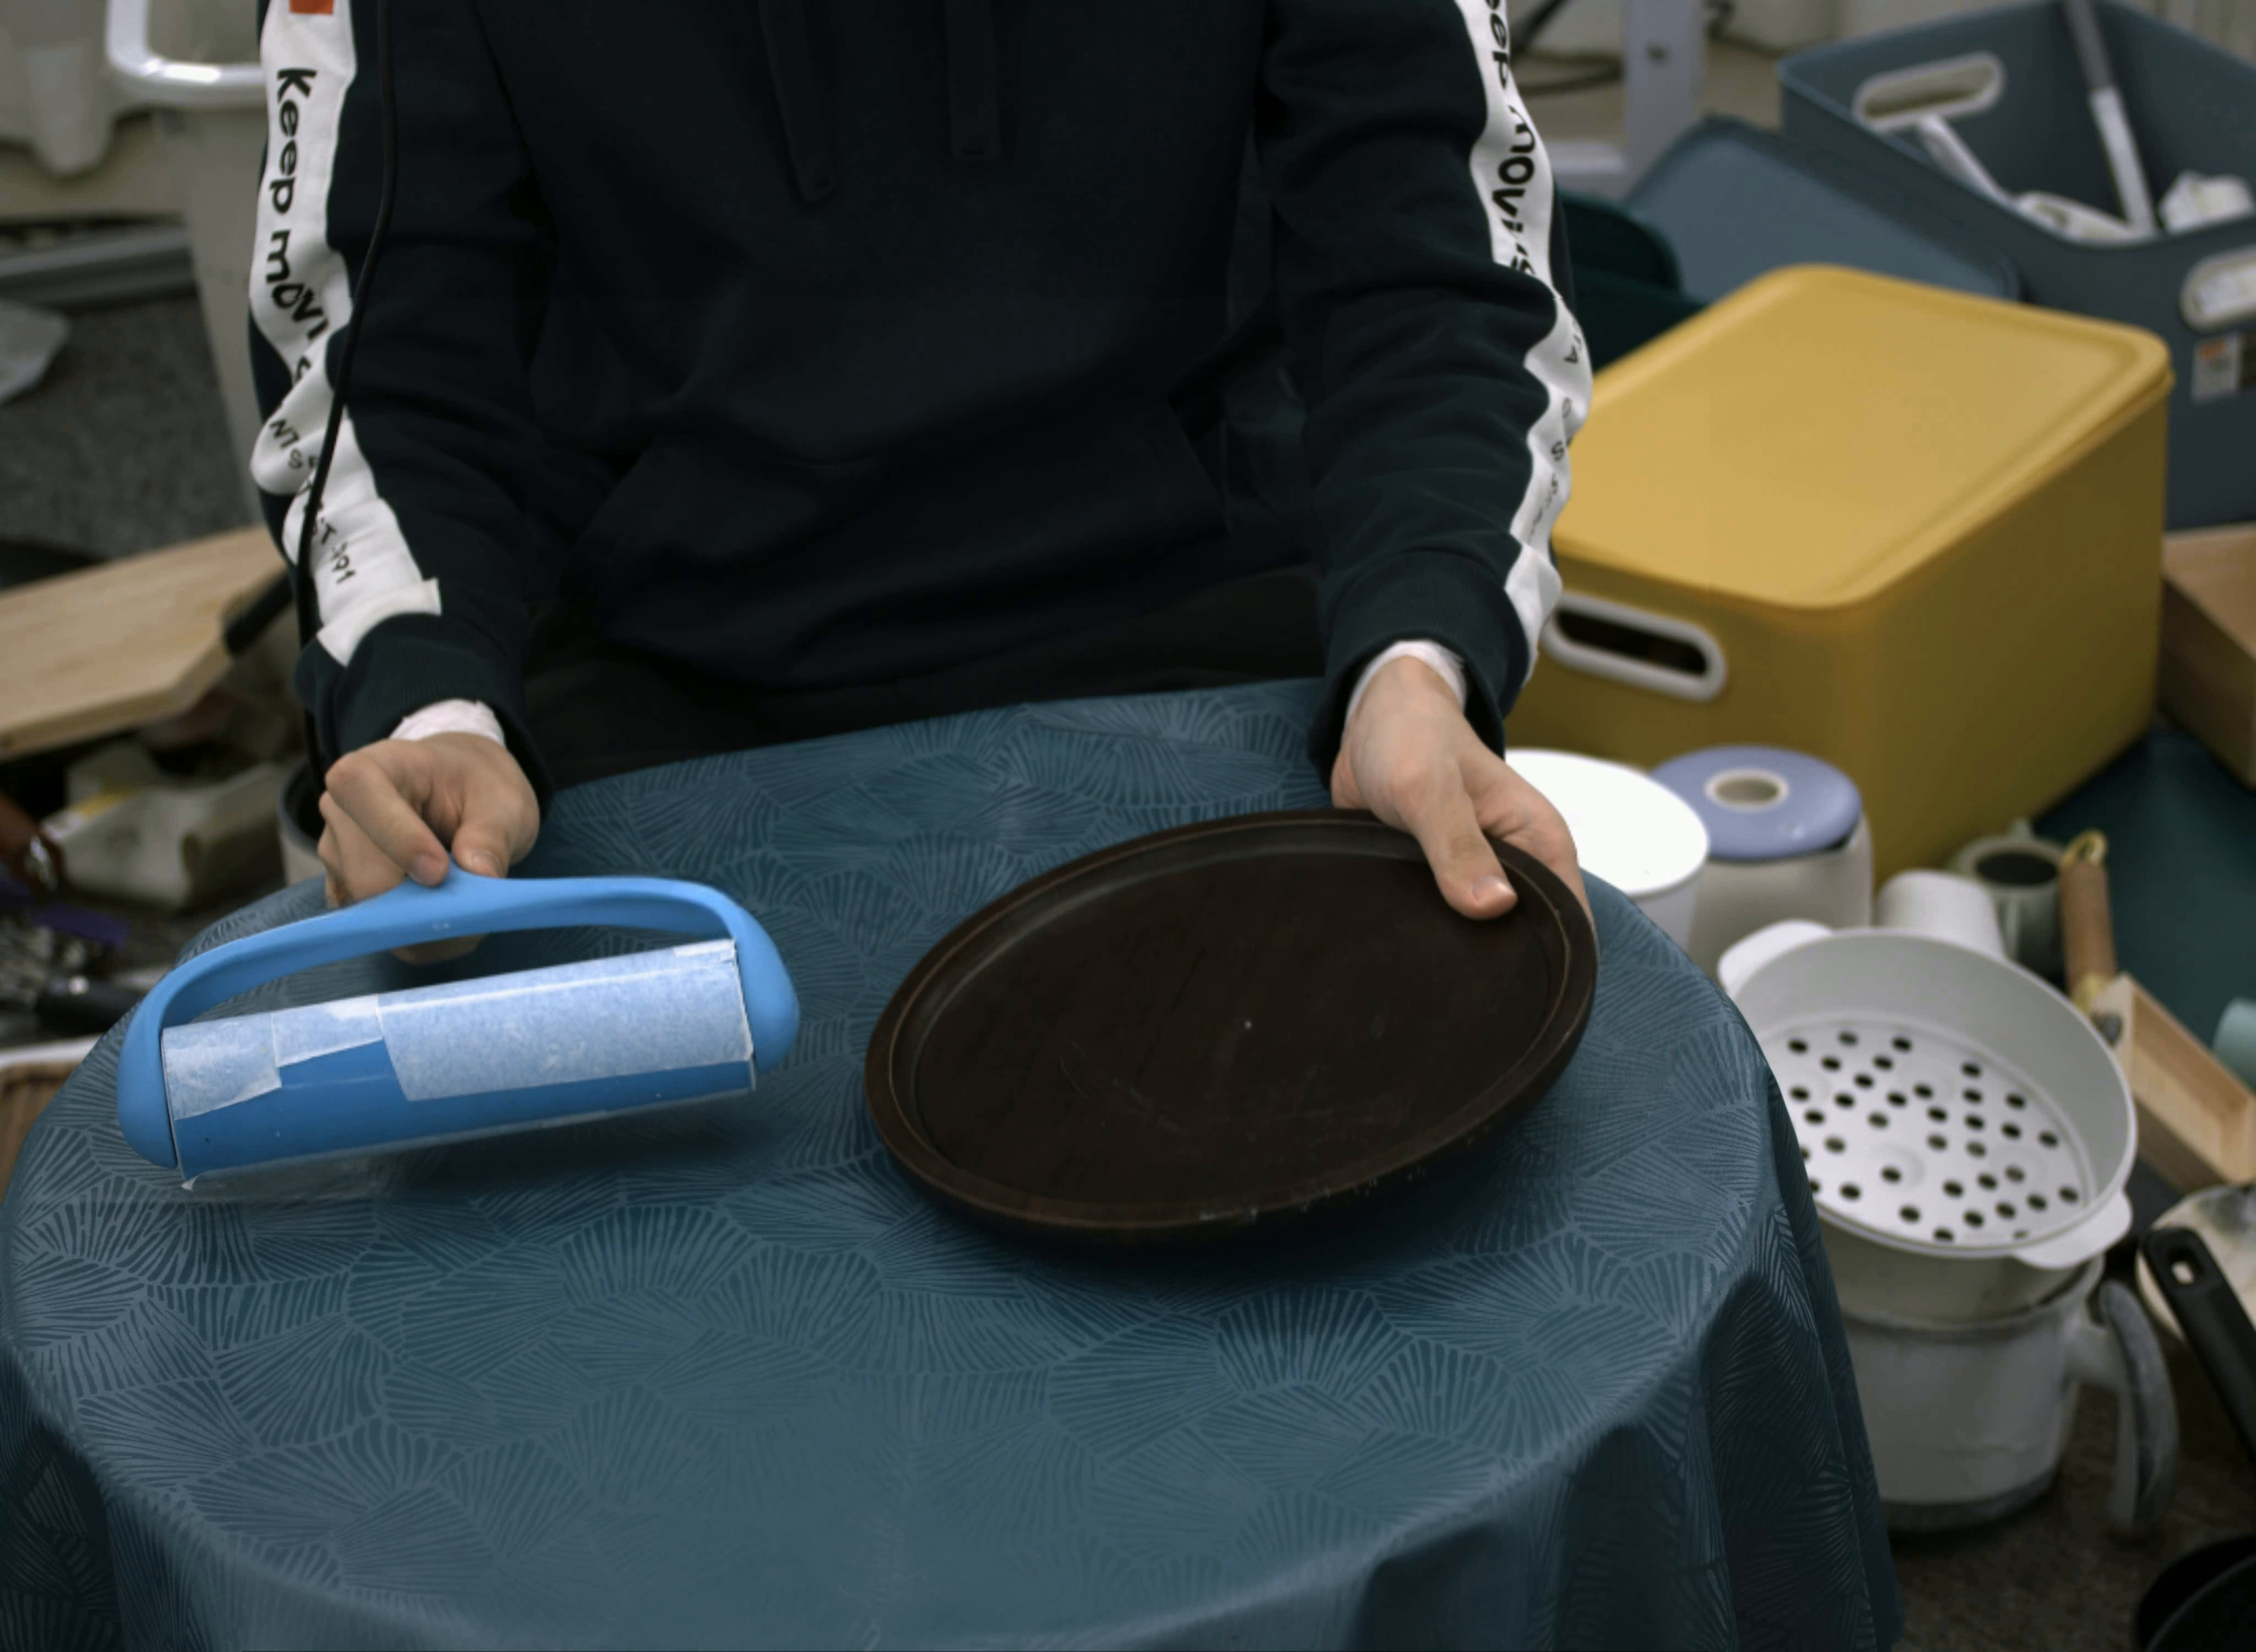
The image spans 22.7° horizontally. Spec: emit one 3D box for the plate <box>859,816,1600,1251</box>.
[{"bbox_3d":[0.035,0.068,1.896,0.253,0.029,0.259,-8,30,5],"label":"plate"}]

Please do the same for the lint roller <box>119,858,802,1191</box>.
[{"bbox_3d":[-0.235,0.048,1.925,0.229,0.067,0.182,-12,32,-8],"label":"lint roller"}]
